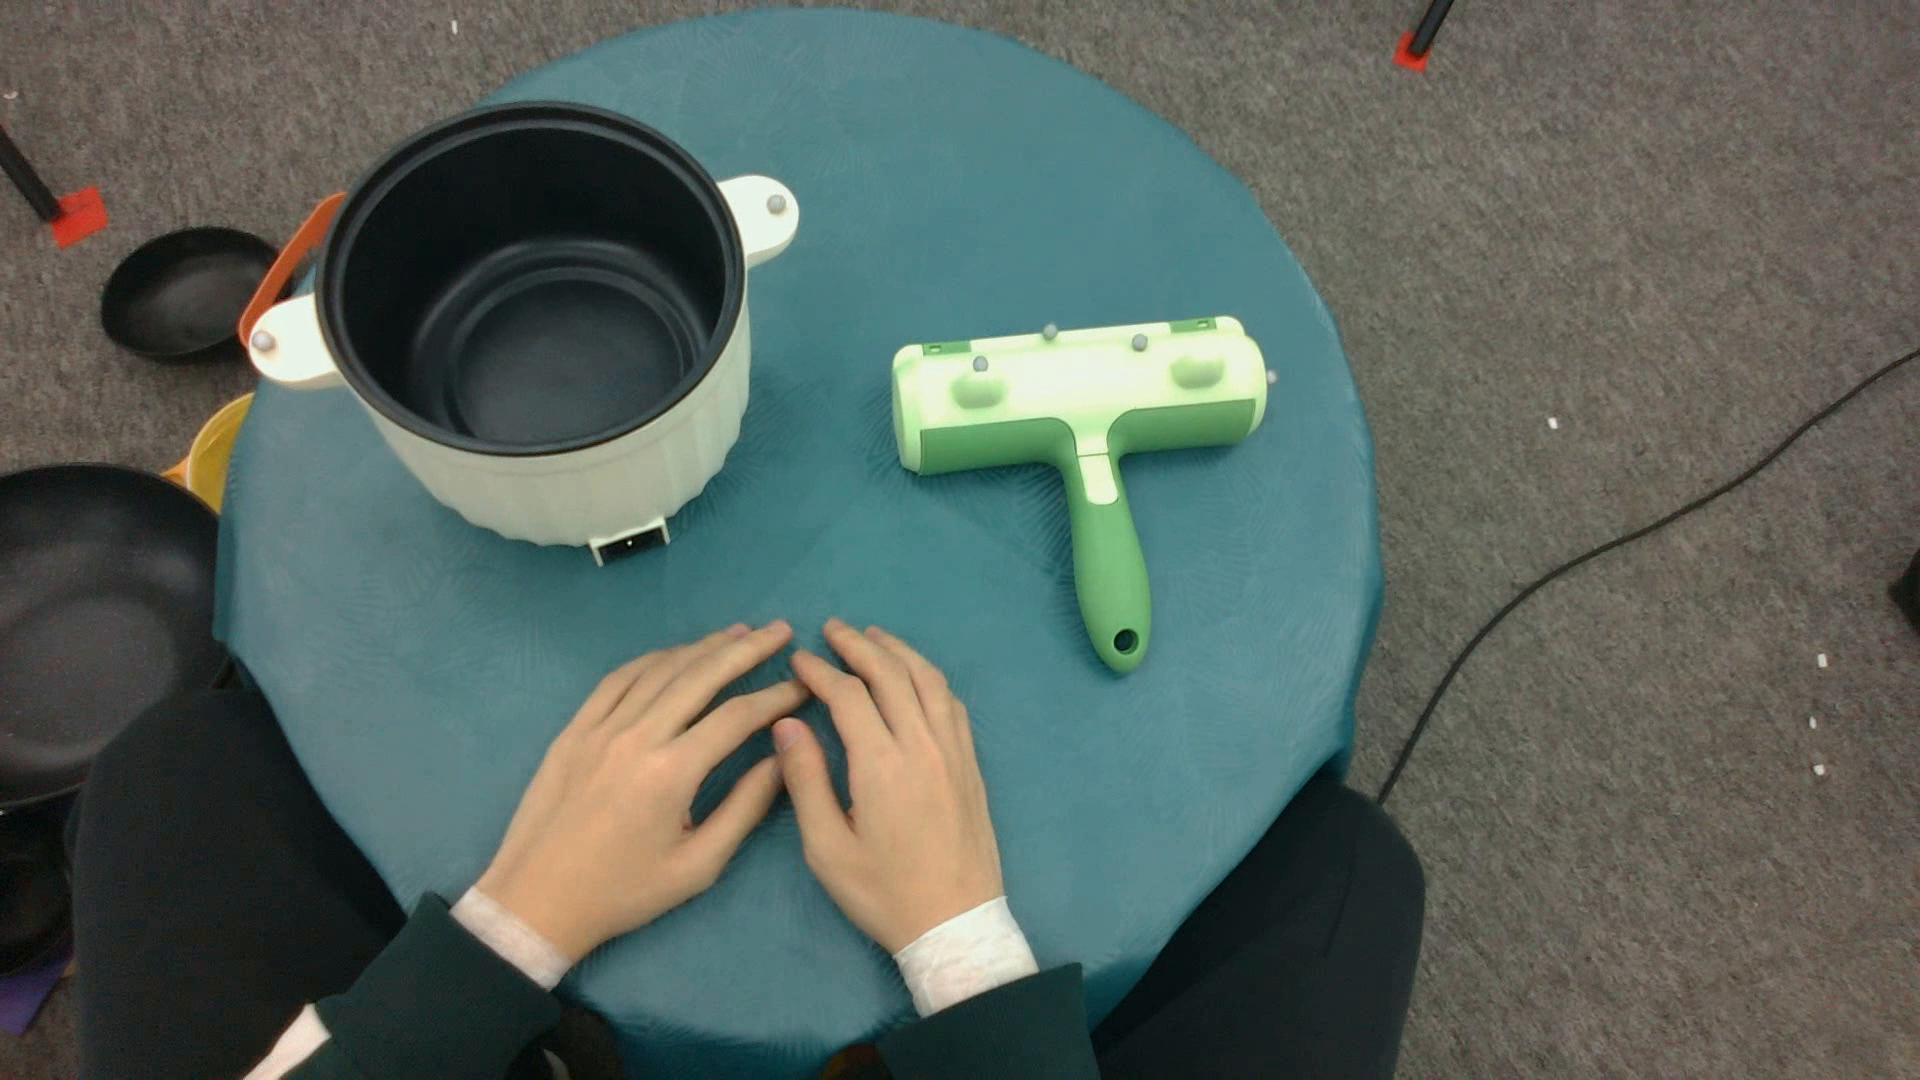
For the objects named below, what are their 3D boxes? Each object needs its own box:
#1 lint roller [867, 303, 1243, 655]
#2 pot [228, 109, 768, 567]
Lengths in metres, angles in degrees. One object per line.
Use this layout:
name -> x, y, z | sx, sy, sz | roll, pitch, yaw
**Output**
lint roller -> 0.062, -0.038, 0.701 | 0.199, 0.082, 0.184 | -7, 62, -10
pot -> -0.207, -0.094, 0.663 | 0.241, 0.142, 0.191 | -22, 74, -16
